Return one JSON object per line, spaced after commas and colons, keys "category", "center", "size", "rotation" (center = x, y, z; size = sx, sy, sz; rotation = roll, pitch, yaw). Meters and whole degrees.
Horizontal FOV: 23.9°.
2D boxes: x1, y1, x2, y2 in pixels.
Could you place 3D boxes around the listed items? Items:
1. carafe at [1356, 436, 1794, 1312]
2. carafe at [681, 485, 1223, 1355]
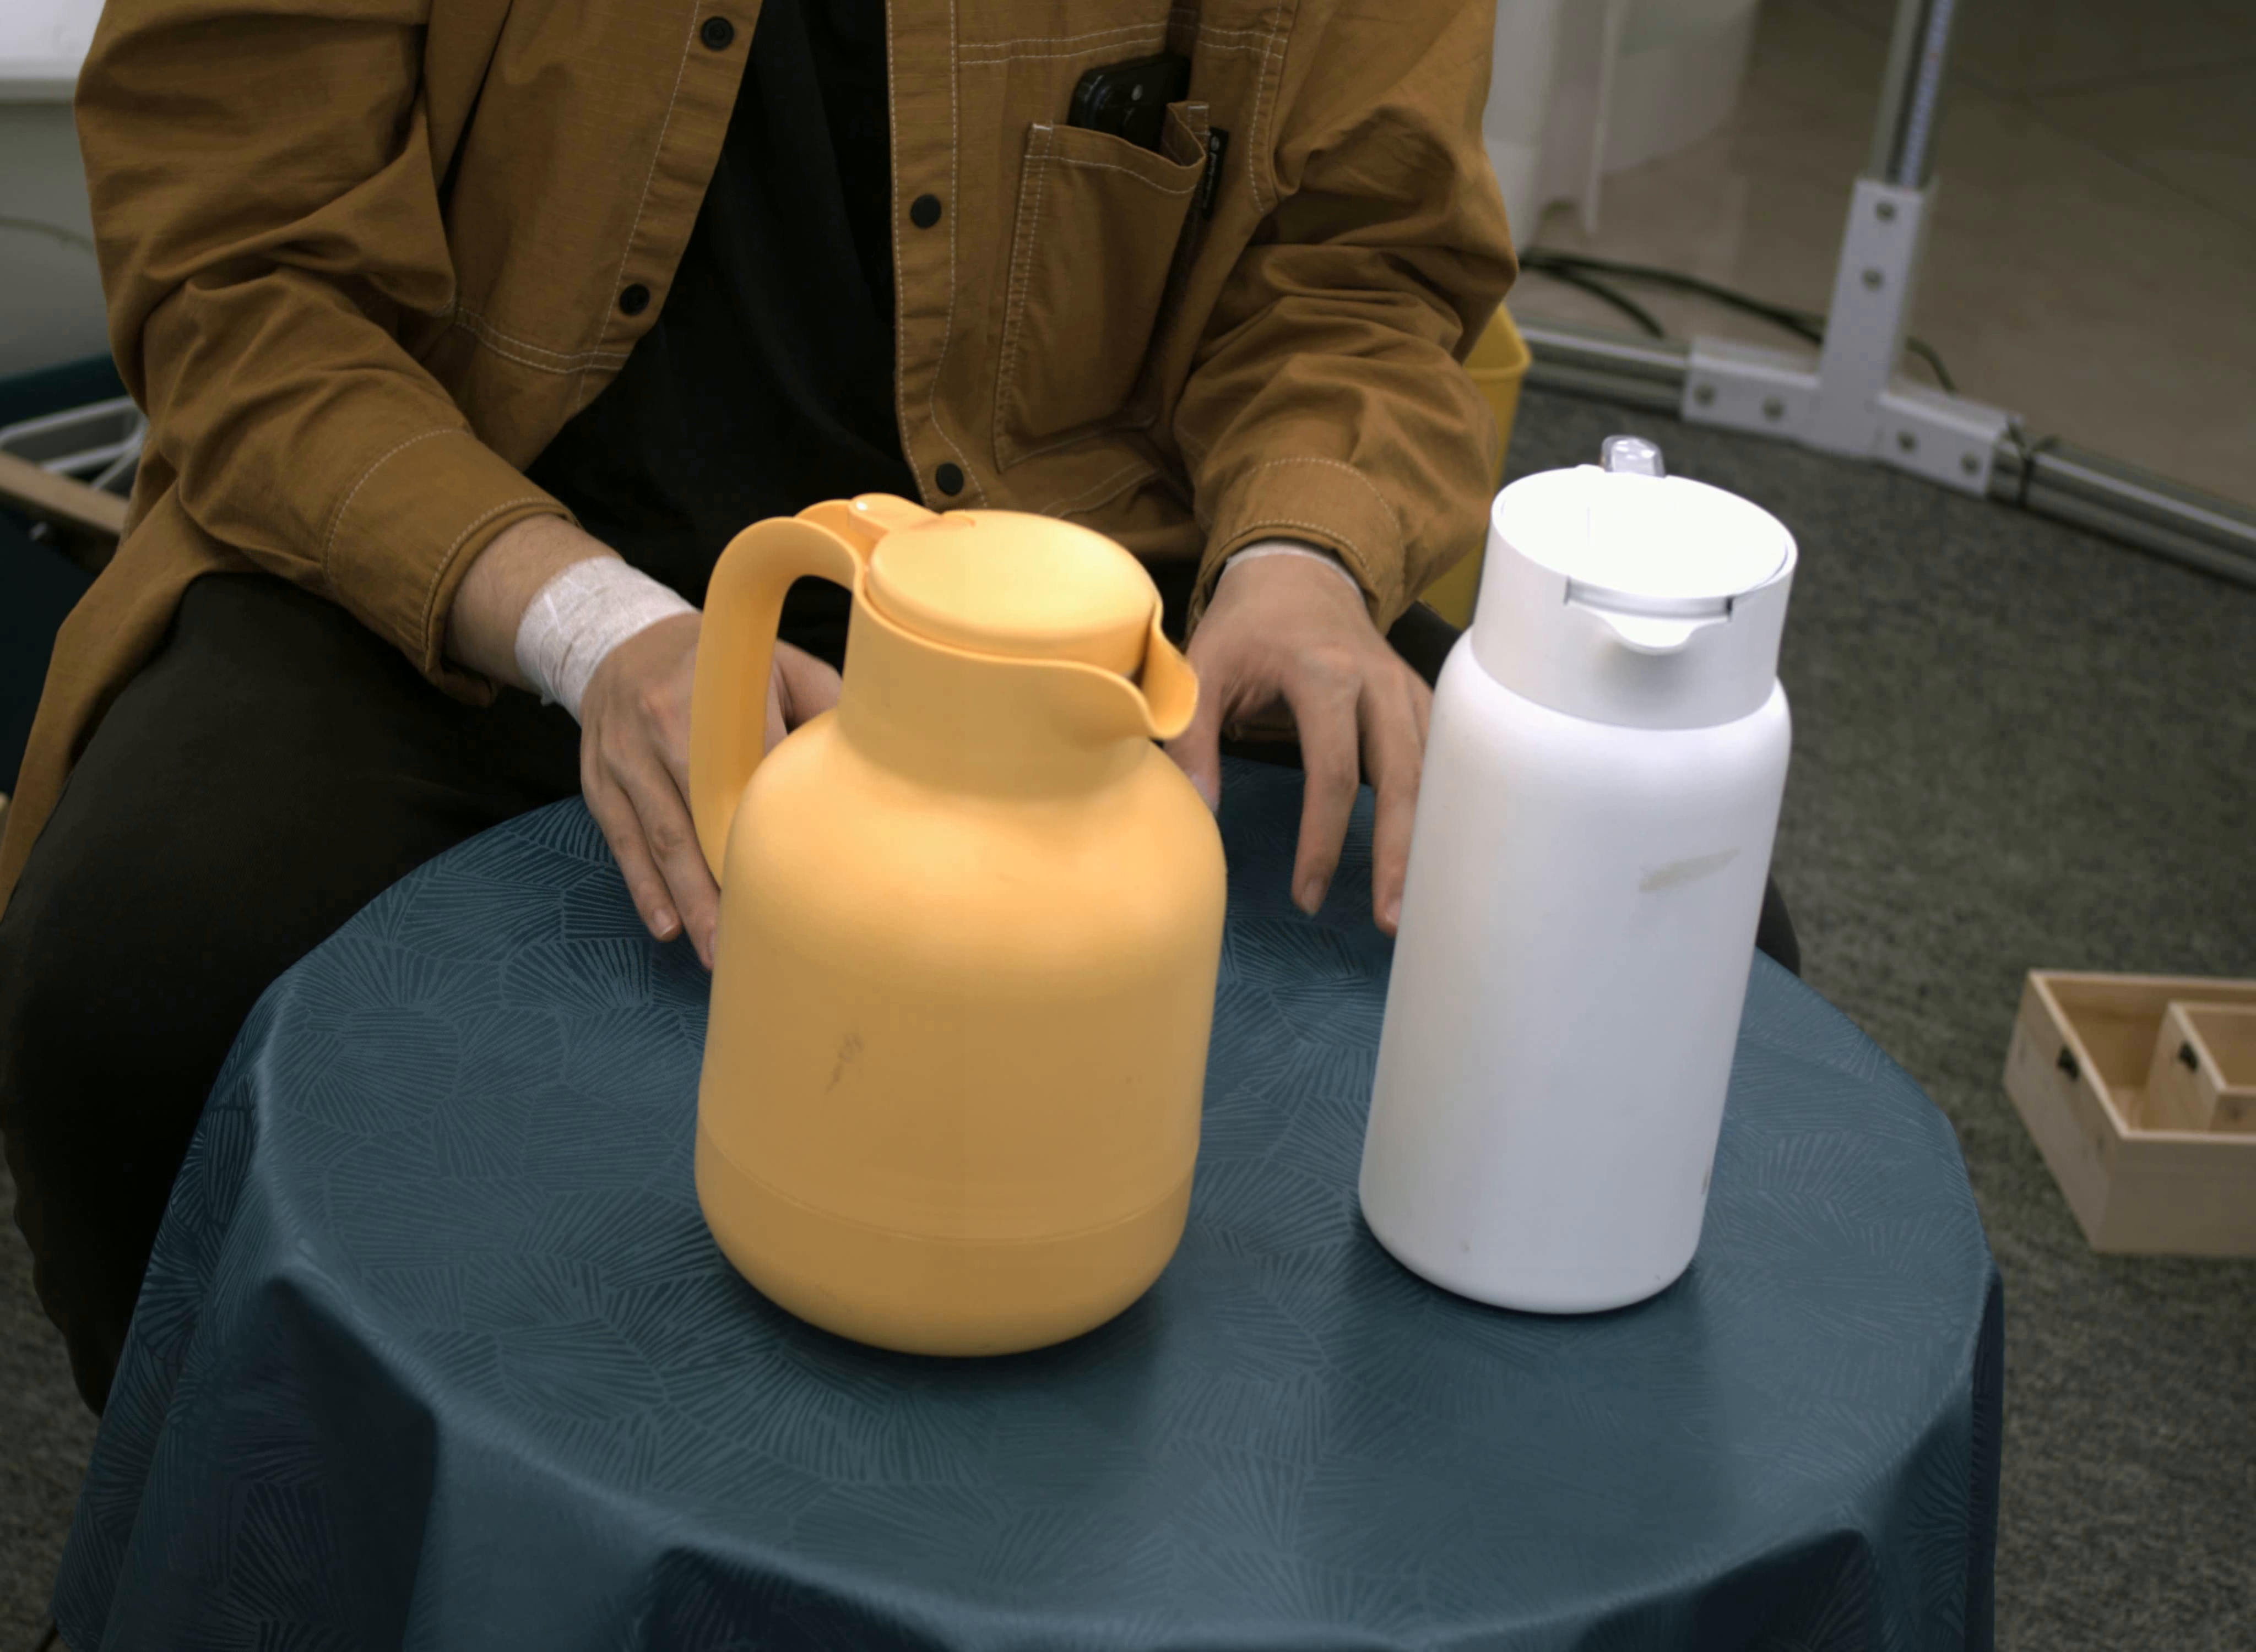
{"category": "carafe", "center": [0.147, 0.012, 1.763], "size": [0.123, 0.268, 0.174], "rotation": [4, 26, -1]}
{"category": "carafe", "center": [-0.064, 0.020, 1.705], "size": [0.162, 0.260, 0.204], "rotation": [-16, 35, -43]}
